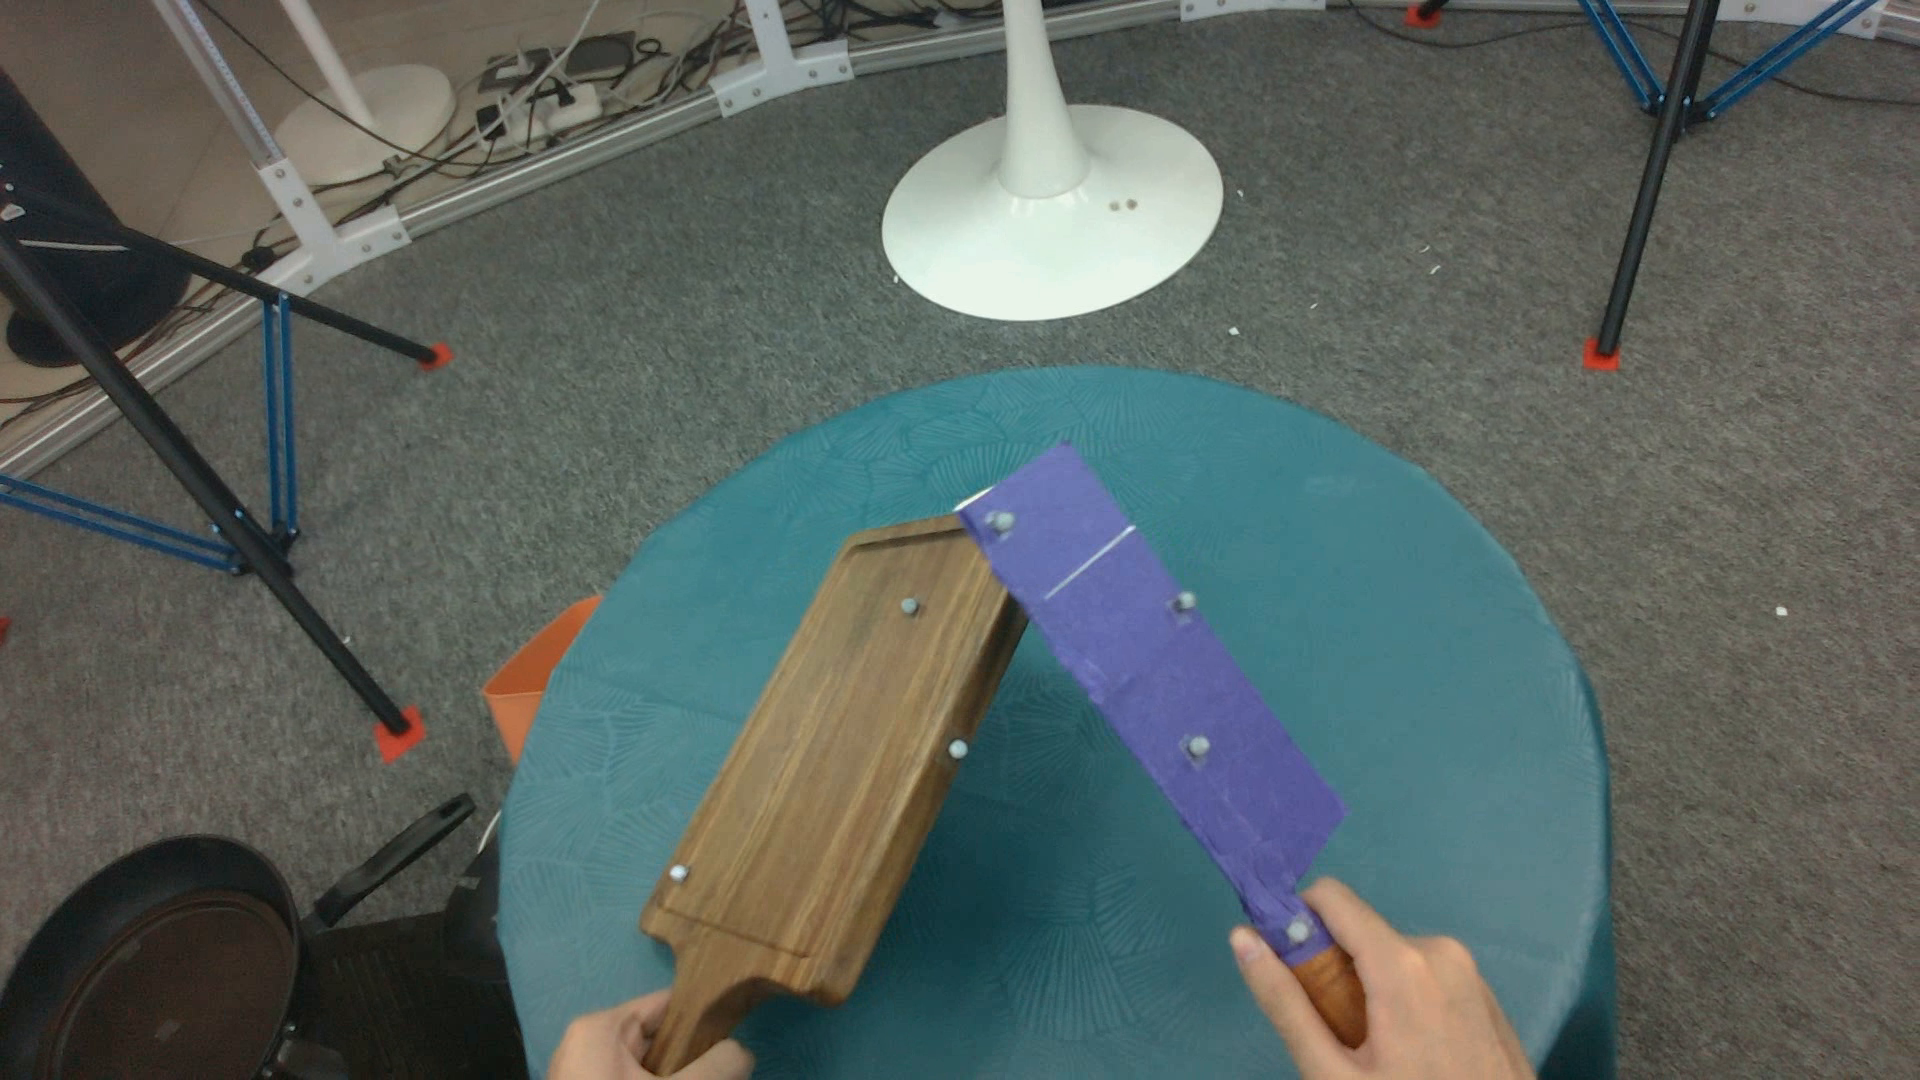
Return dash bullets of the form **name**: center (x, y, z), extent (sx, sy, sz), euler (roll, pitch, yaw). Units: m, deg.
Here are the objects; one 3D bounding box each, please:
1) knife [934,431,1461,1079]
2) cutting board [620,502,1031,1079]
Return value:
- **knife**: center (0.112, 0.086, 0.575), extent (0.315, 0.032, 0.104), euler (54, 44, 3)
- **cutting board**: center (-0.082, 0.130, 0.670), extent (0.200, 0.023, 0.353), euler (-8, 49, 54)
